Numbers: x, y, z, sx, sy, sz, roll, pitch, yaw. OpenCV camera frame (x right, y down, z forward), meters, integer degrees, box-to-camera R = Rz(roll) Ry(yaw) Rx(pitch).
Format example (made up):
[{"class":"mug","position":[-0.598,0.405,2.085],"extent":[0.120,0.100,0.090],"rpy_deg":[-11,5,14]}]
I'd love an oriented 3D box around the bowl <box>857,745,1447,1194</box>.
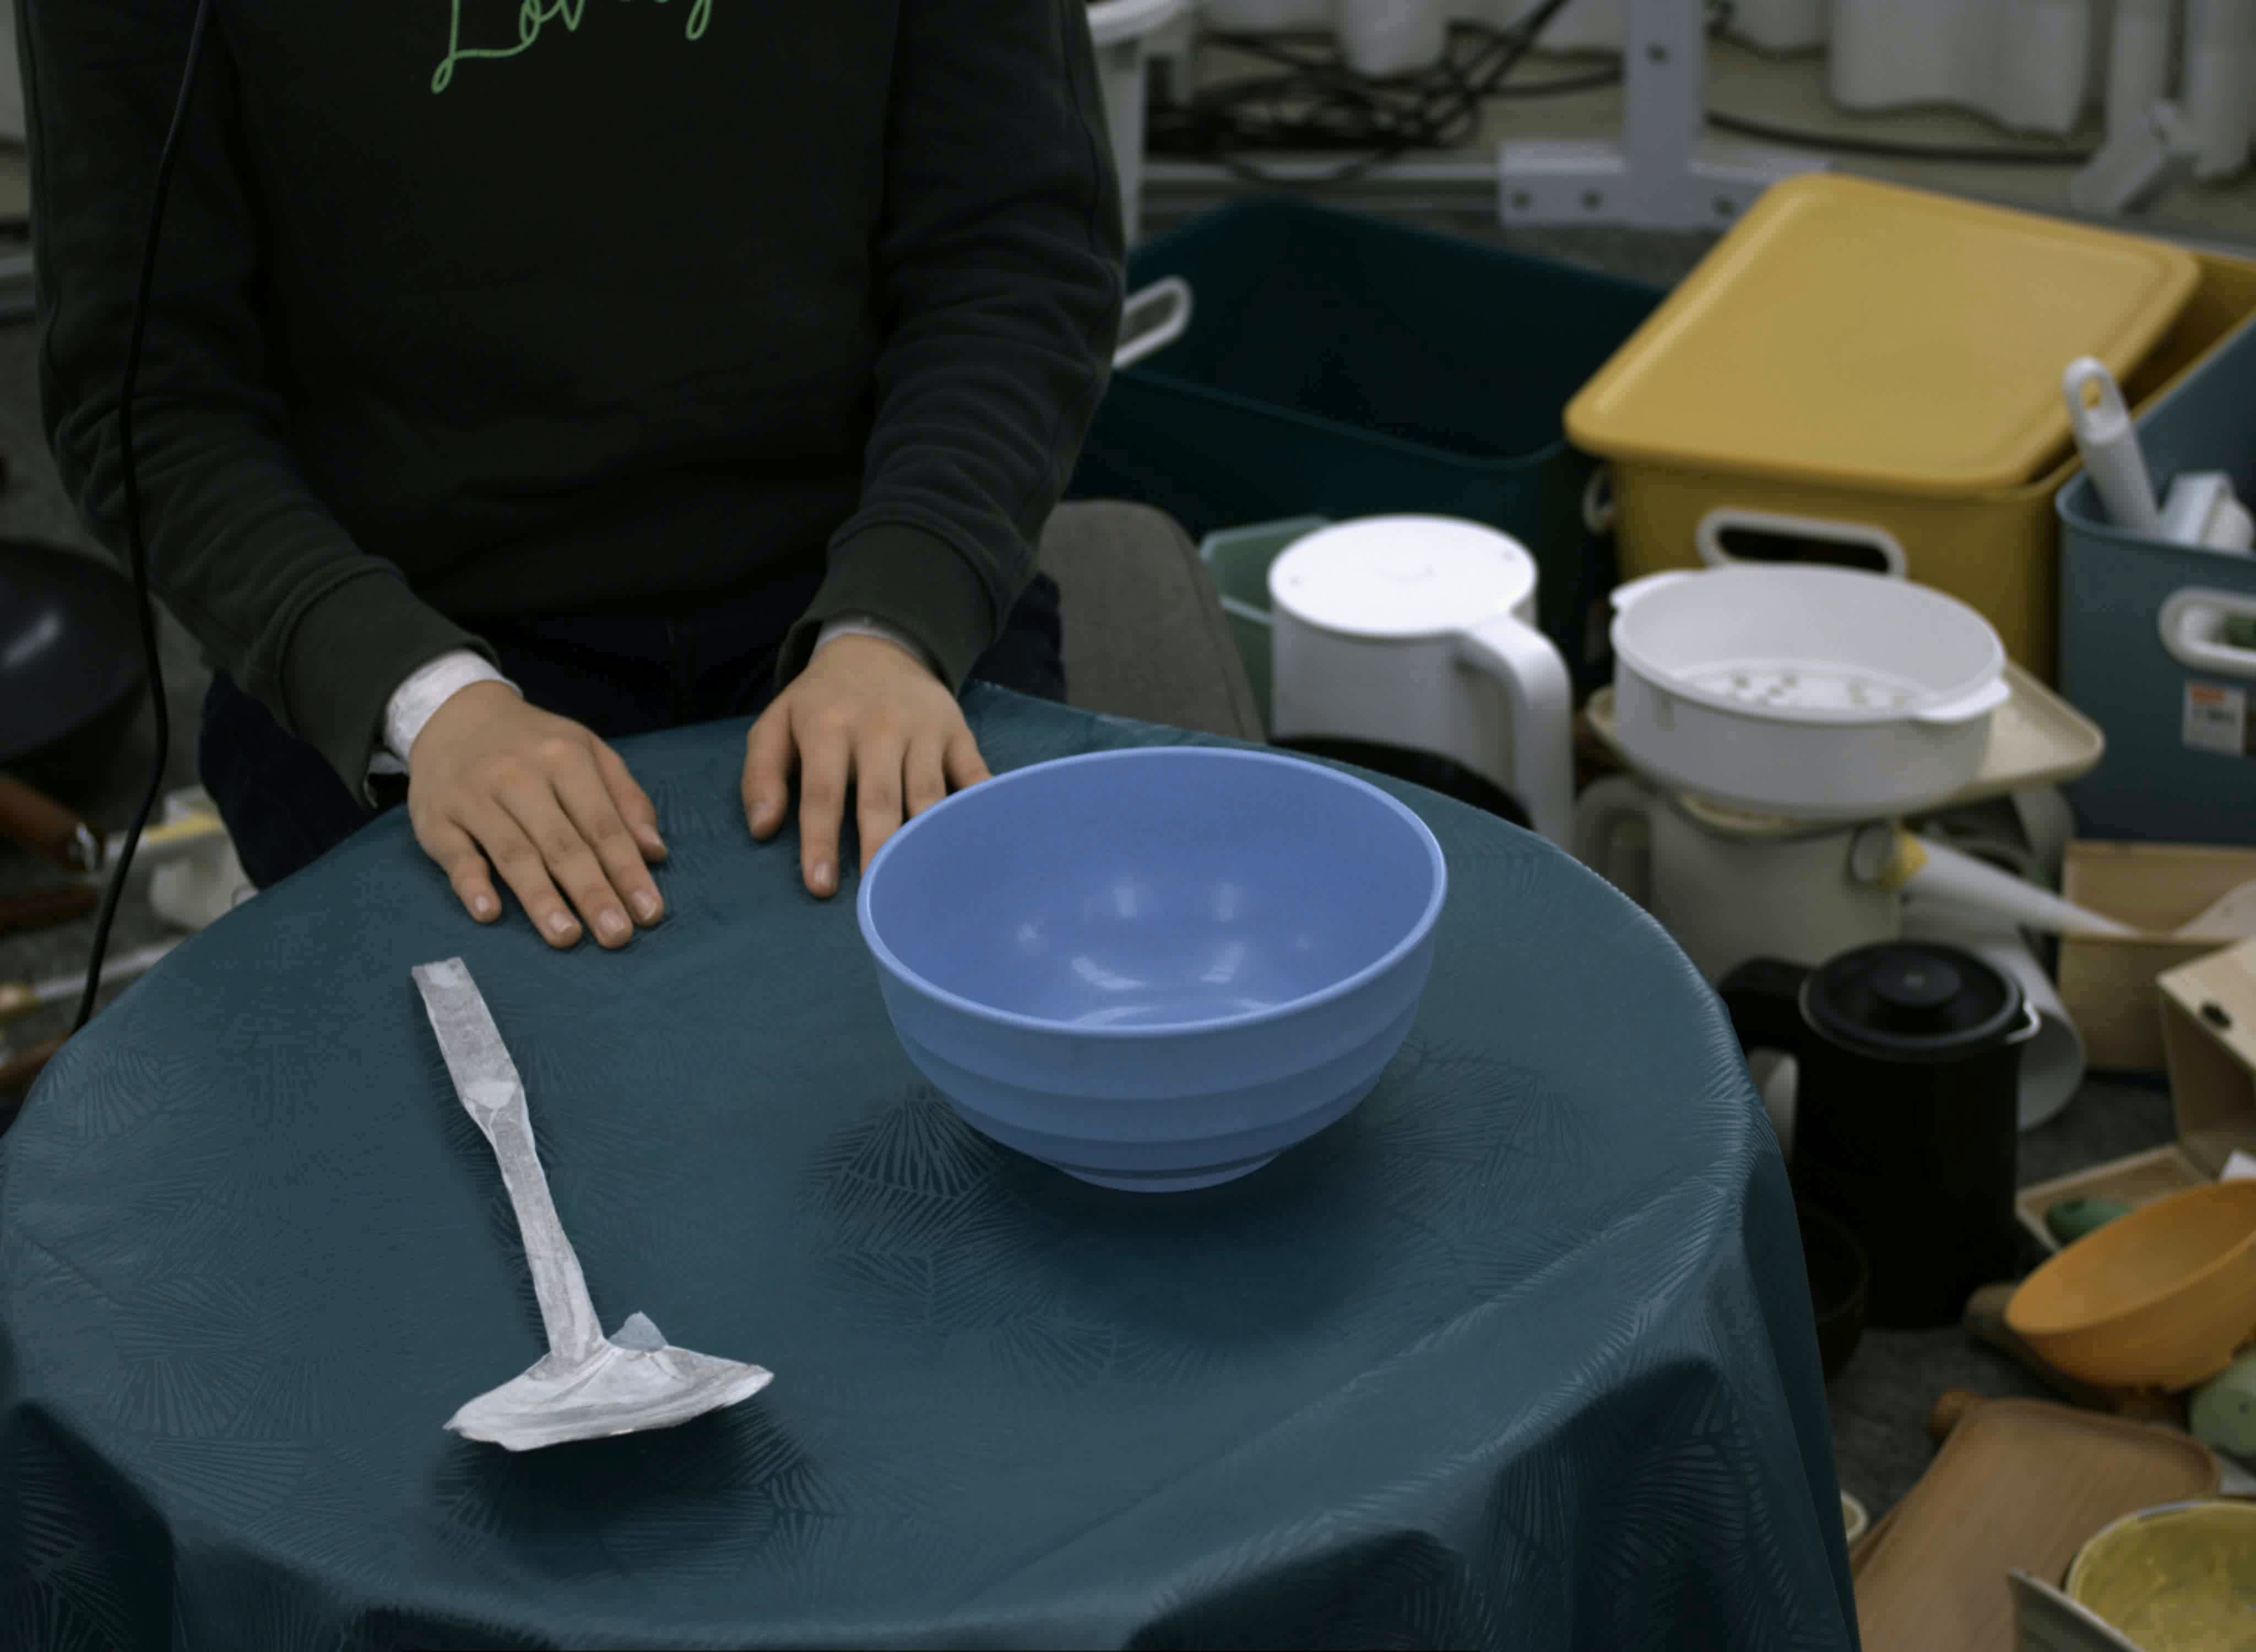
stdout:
[{"class":"bowl","position":[0.011,0.059,1.878],"extent":[0.195,0.094,0.199],"rpy_deg":[-3,28,2]}]

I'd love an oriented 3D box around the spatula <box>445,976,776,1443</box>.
[{"class":"spatula","position":[-0.193,0.118,1.846],"extent":[0.098,0.044,0.369],"rpy_deg":[-11,28,-11]}]
